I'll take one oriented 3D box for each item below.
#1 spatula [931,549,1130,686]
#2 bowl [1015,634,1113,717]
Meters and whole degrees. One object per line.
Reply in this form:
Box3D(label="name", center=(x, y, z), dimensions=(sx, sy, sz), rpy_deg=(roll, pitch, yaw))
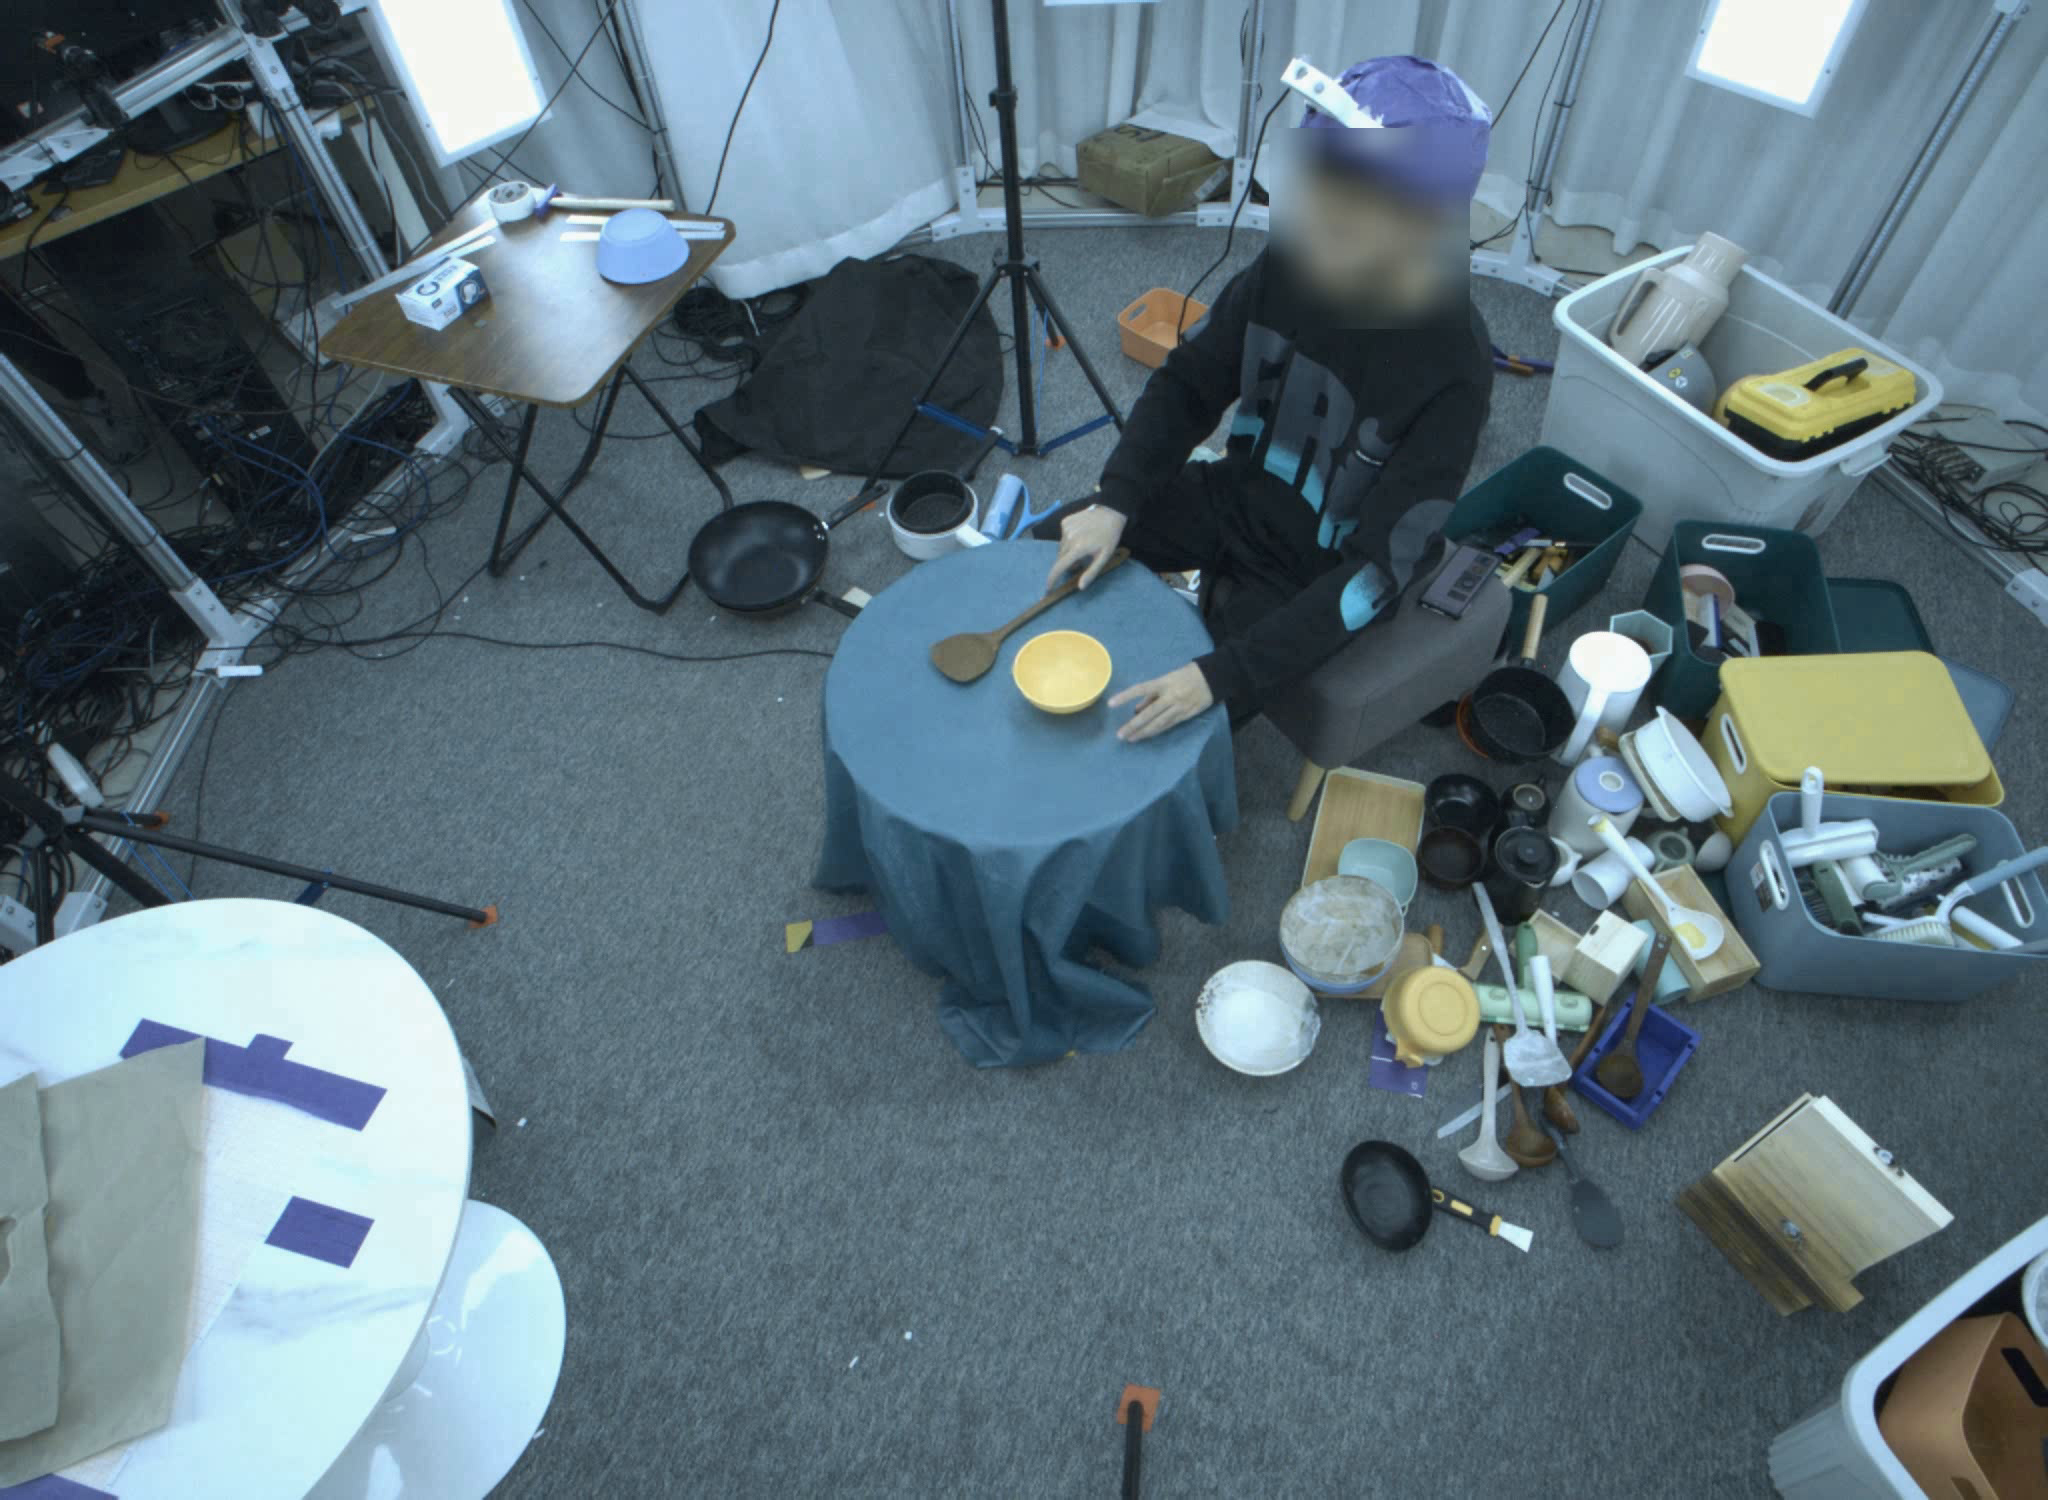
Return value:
Box3D(label="spatula", center=(0.023, -0.221, 1.942), dimensions=(0.389, 0.016, 0.094), rpy_deg=(-36, 63, -21))
Box3D(label="bowl", center=(0.059, -0.099, 1.832), dimensions=(0.145, 0.060, 0.144), rpy_deg=(1, 56, 0))
